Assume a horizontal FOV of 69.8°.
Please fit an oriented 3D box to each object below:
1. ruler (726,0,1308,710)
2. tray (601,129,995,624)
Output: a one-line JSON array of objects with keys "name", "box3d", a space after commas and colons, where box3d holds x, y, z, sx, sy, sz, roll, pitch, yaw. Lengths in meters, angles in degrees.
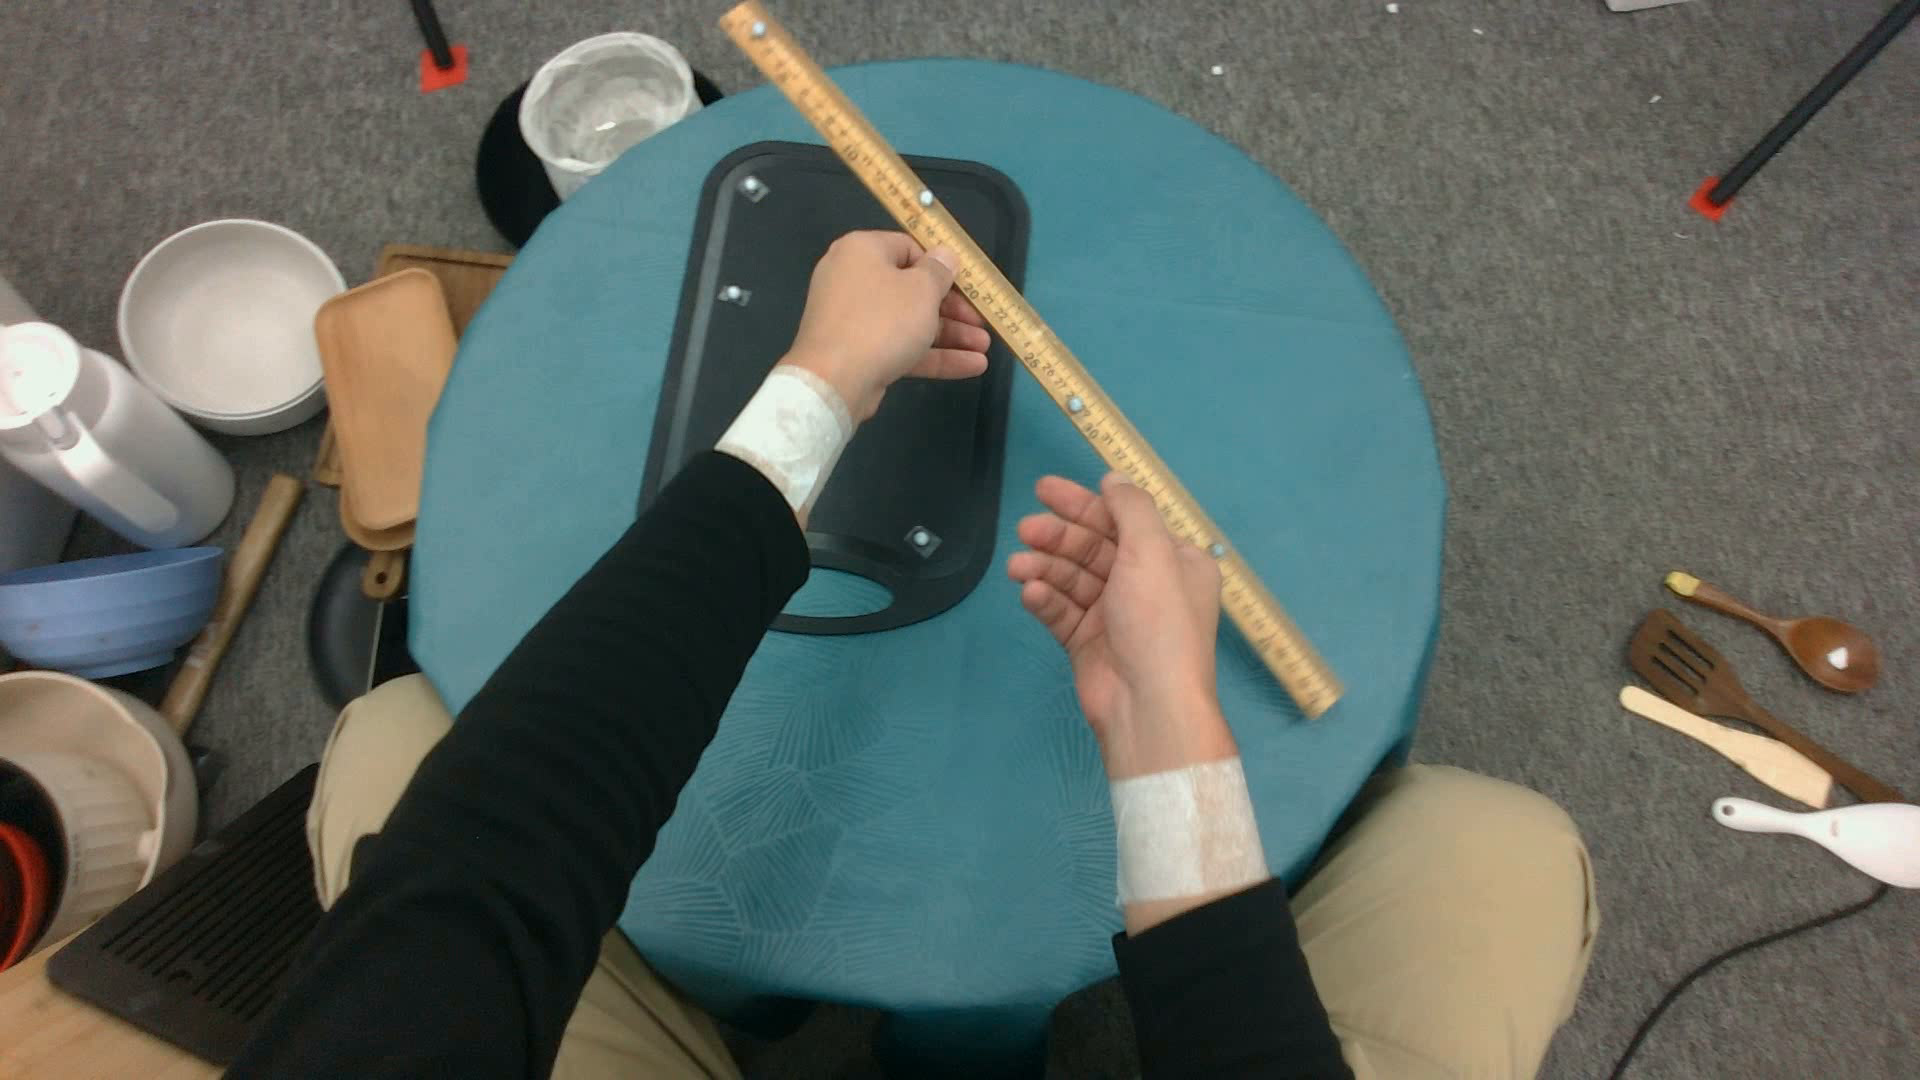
[{"name": "ruler", "box3d": [0.030, -0.109, 0.752, 0.027, 0.006, 0.500, -38, 92, -14]}, {"name": "tray", "box3d": [-0.092, -0.106, 0.825, 0.211, 0.010, 0.326, 6, 69, -1]}]
